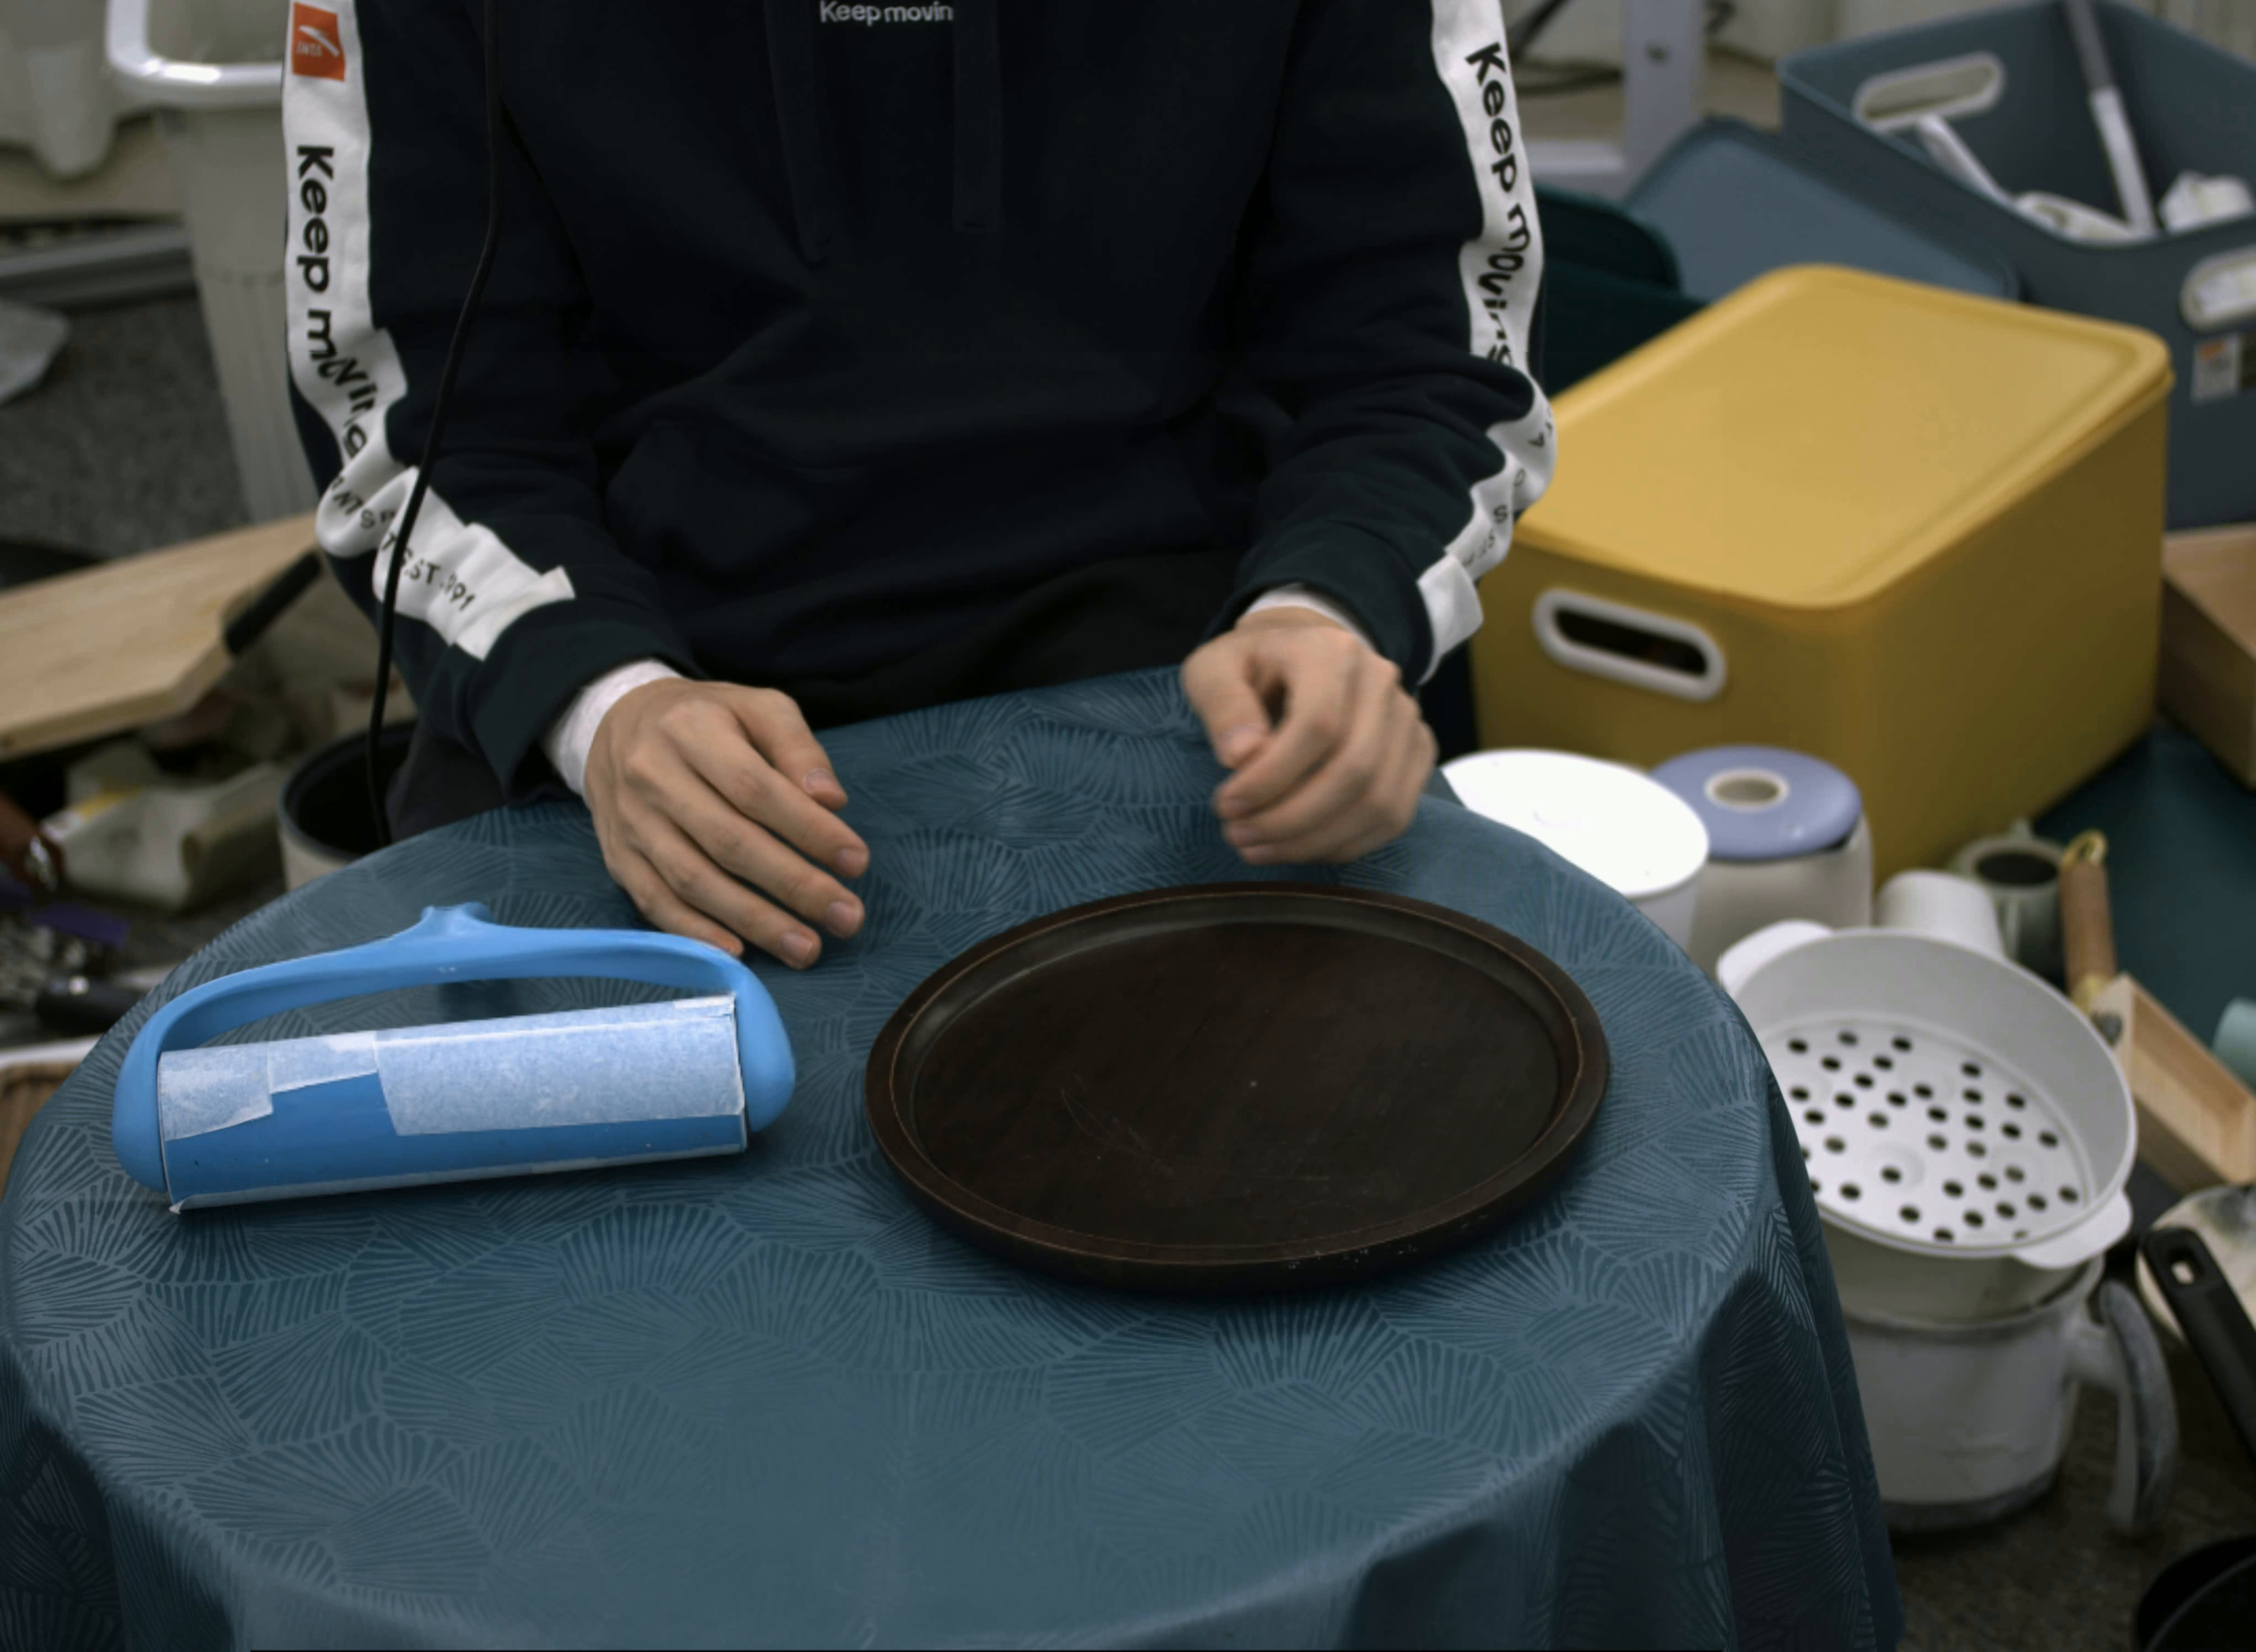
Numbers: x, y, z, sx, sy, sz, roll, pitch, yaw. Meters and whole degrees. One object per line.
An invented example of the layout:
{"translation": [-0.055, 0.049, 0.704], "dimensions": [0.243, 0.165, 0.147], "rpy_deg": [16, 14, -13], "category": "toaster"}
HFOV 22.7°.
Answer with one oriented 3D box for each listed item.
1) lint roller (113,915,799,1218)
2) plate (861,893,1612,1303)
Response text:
{"translation": [-0.233, 0.066, 1.929], "dimensions": [0.228, 0.067, 0.182], "rpy_deg": [-8, 28, -7], "category": "lint roller"}
{"translation": [0.036, 0.089, 1.895], "dimensions": [0.253, 0.029, 0.259], "rpy_deg": [-2, 29, 1], "category": "plate"}
